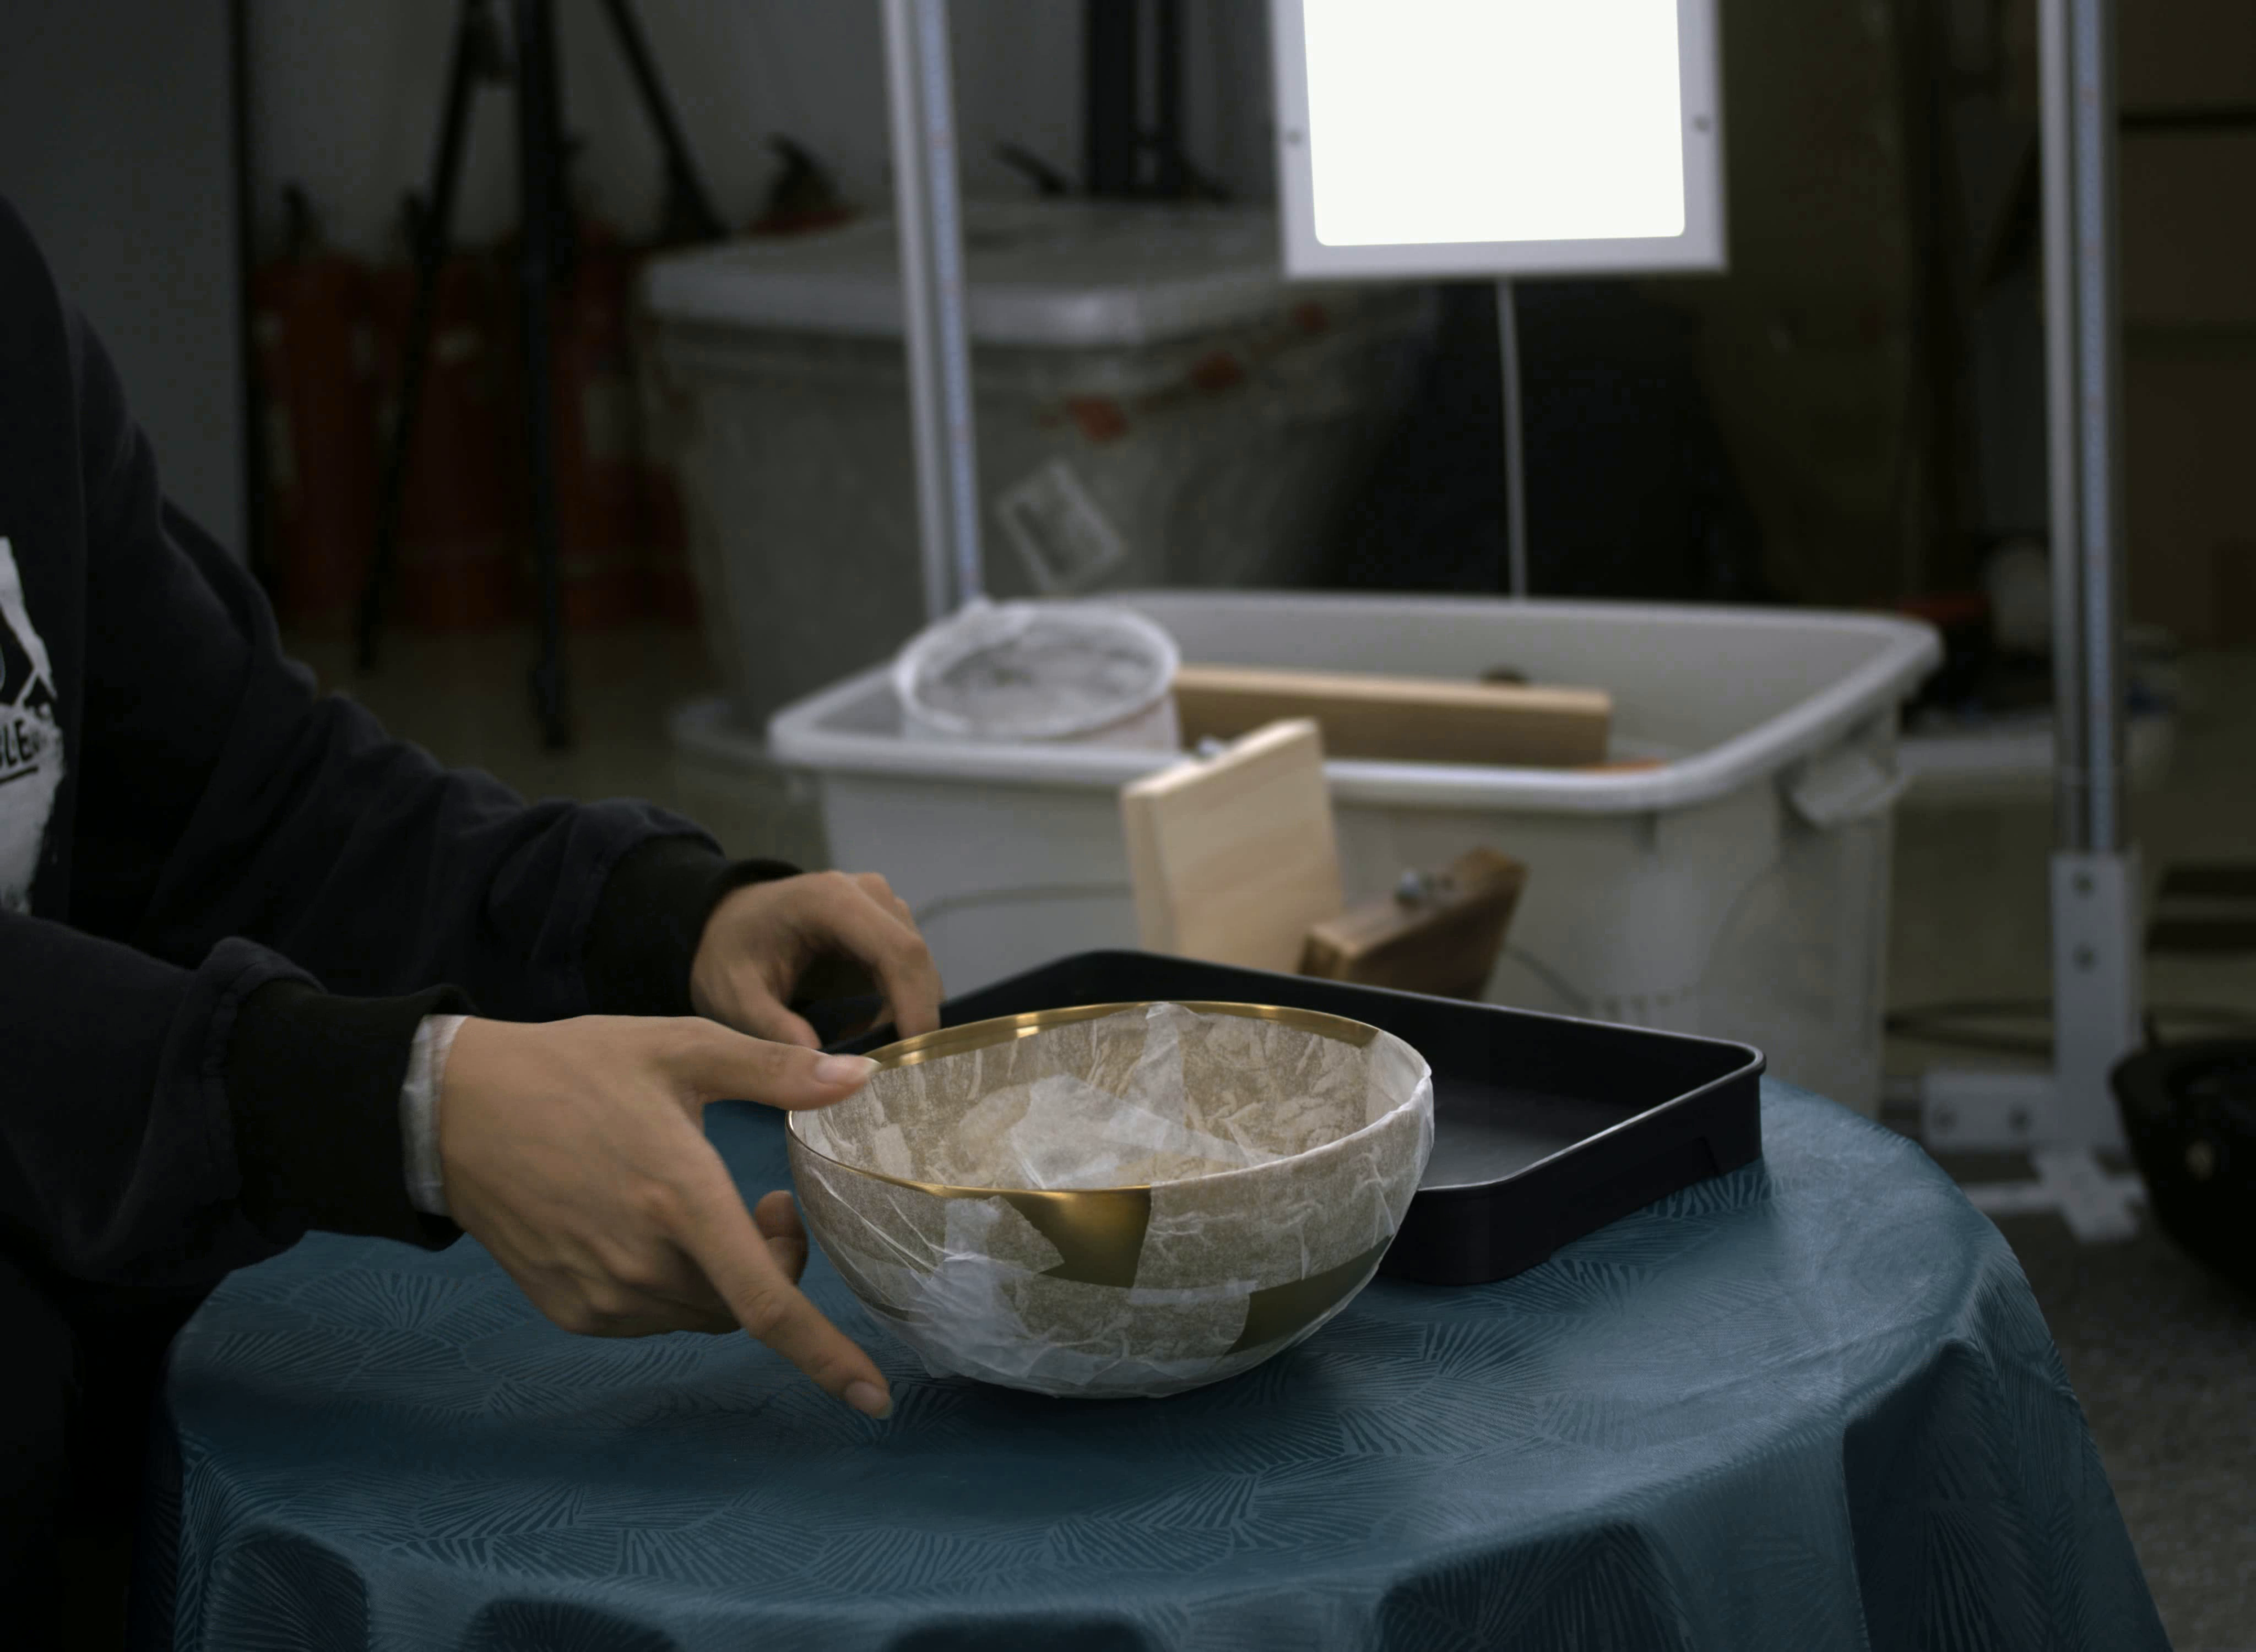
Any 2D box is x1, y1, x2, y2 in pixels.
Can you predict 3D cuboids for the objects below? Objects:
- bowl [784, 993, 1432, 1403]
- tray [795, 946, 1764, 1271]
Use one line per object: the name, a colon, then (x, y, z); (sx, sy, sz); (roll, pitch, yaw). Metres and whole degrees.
bowl: (-0.005, 0.123, 1.719); (0.214, 0.095, 0.214); (-6, 15, 0)
tray: (0.051, 0.095, 1.921); (0.325, 0.037, 0.179); (6, 19, 43)
